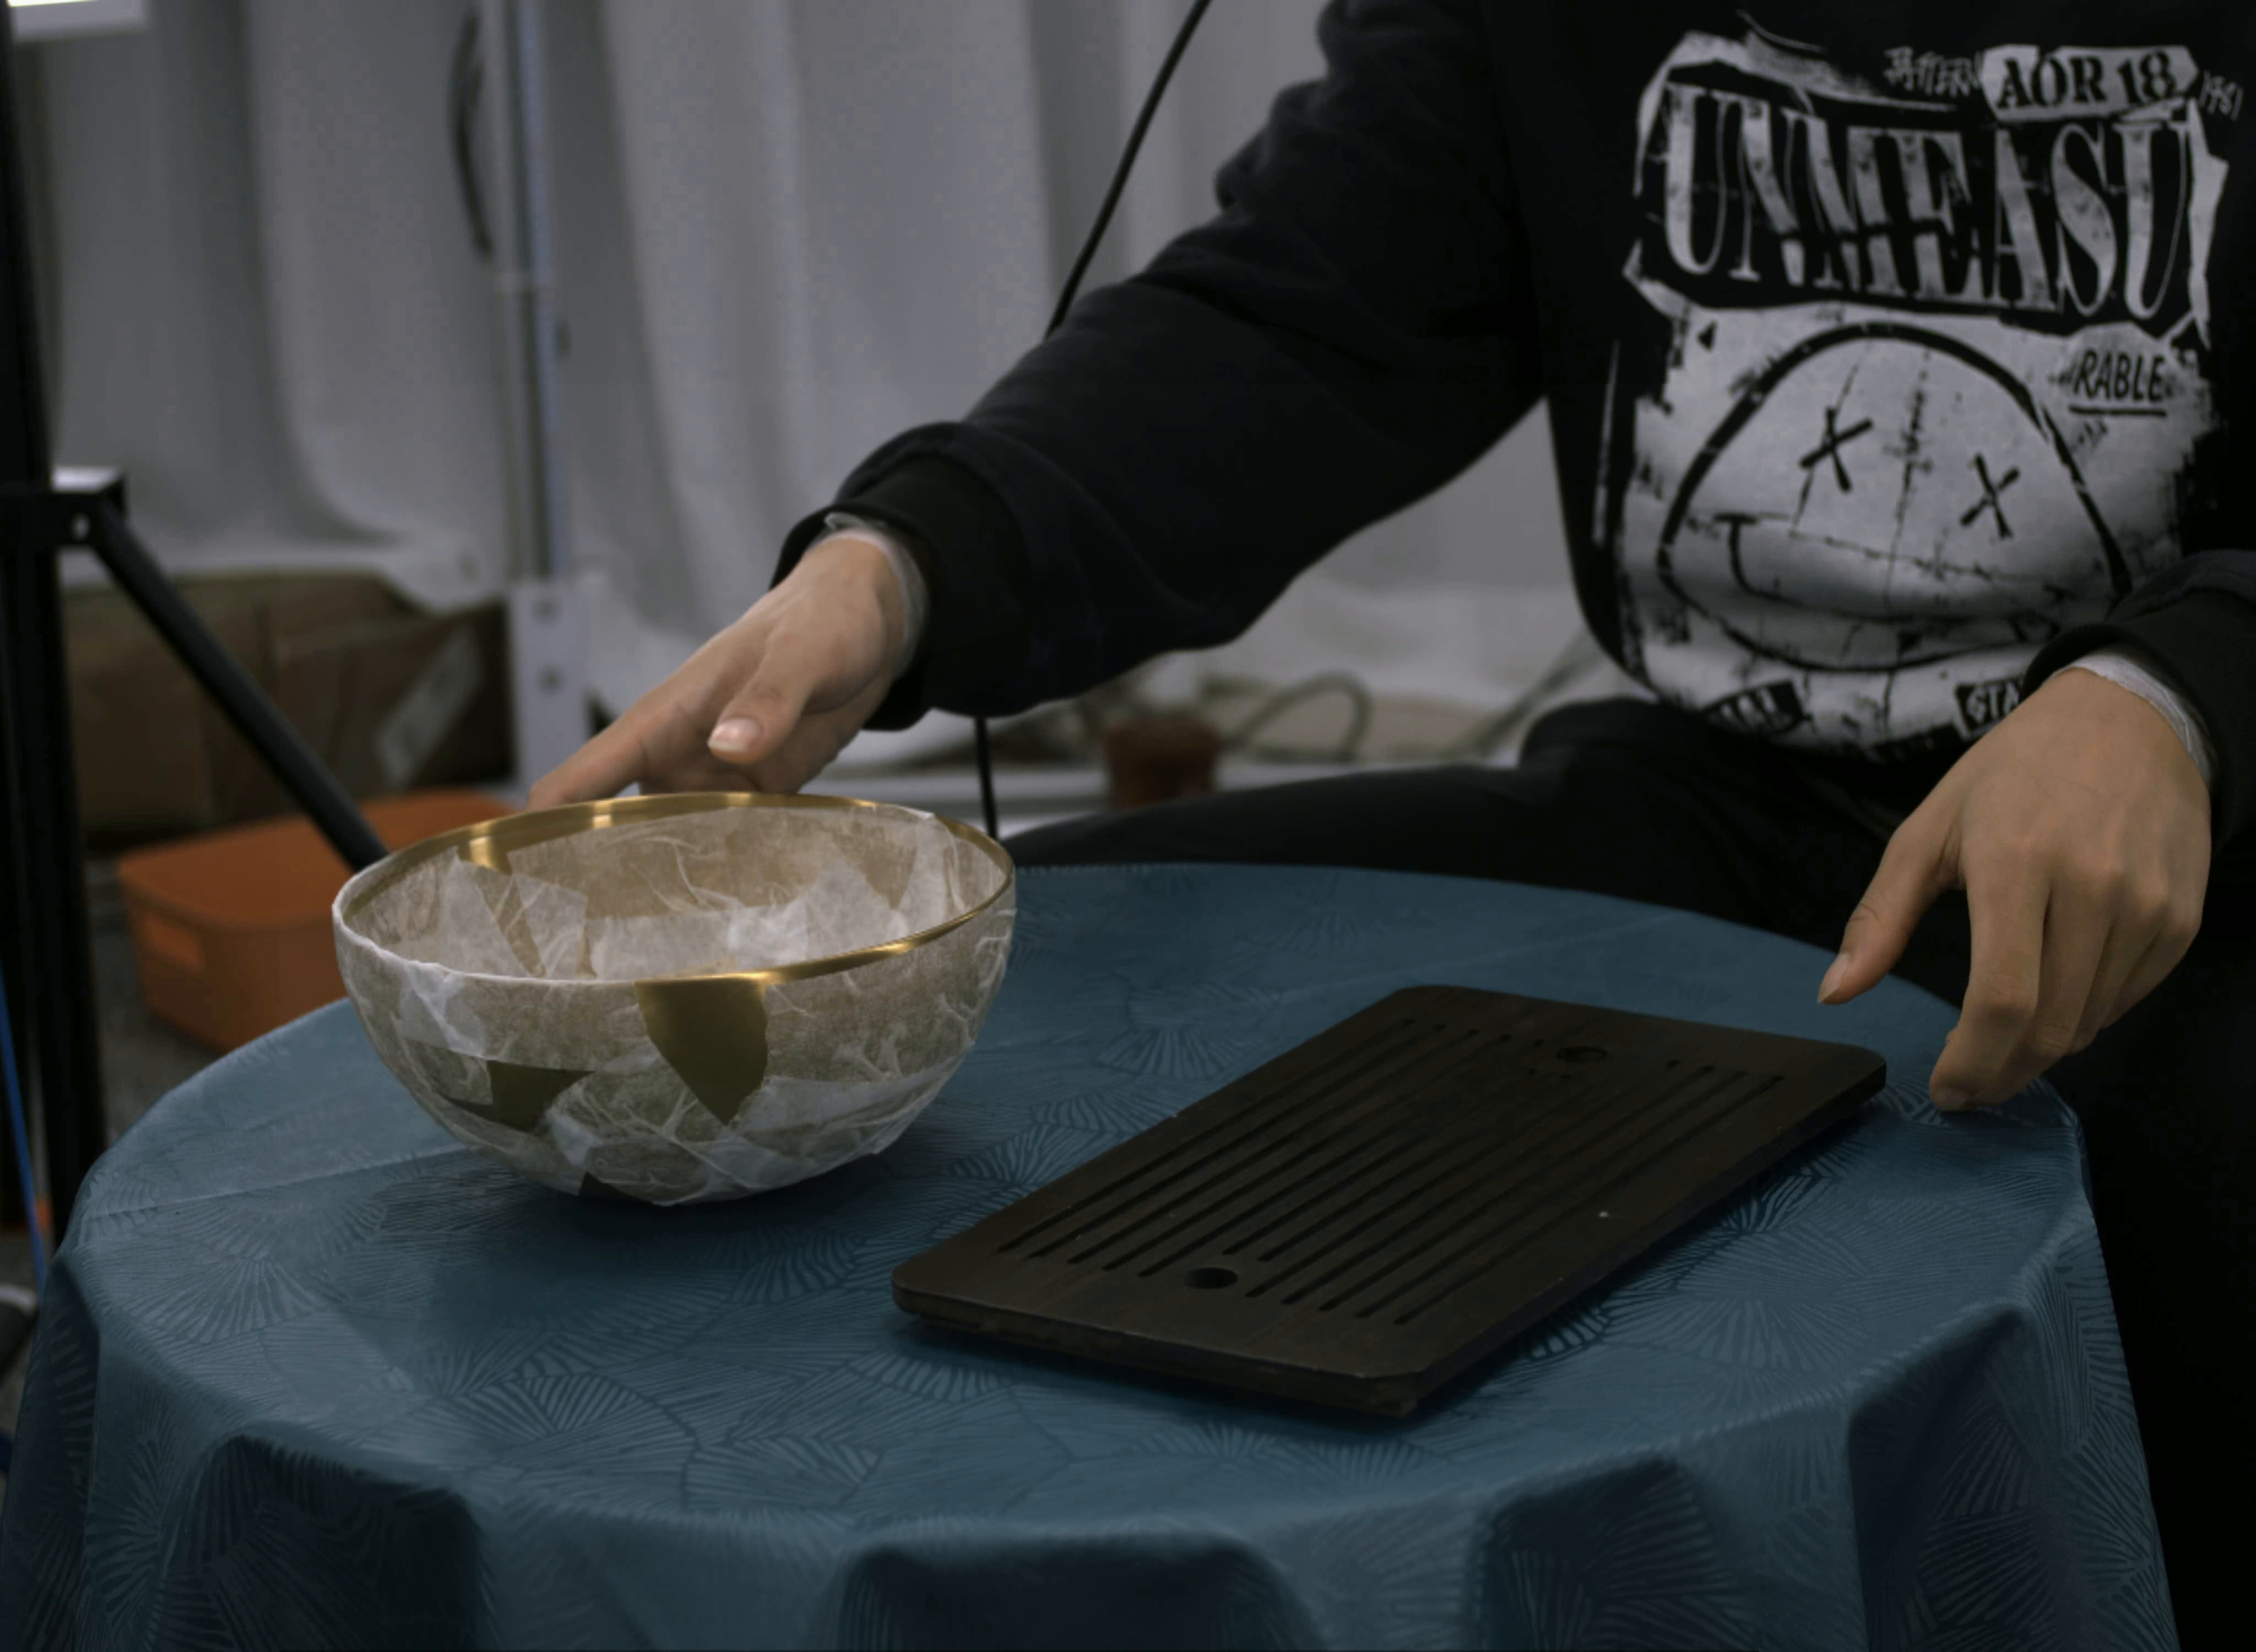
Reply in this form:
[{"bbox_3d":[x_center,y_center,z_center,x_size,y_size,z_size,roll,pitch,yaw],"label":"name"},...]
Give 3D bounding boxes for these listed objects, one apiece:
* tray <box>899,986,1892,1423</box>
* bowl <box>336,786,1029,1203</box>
[{"bbox_3d":[0.084,0.105,1.522,0.173,0.018,0.300,8,19,33],"label":"tray"},{"bbox_3d":[-0.127,0.058,1.587,0.213,0.094,0.216,-3,15,-1],"label":"bowl"}]
